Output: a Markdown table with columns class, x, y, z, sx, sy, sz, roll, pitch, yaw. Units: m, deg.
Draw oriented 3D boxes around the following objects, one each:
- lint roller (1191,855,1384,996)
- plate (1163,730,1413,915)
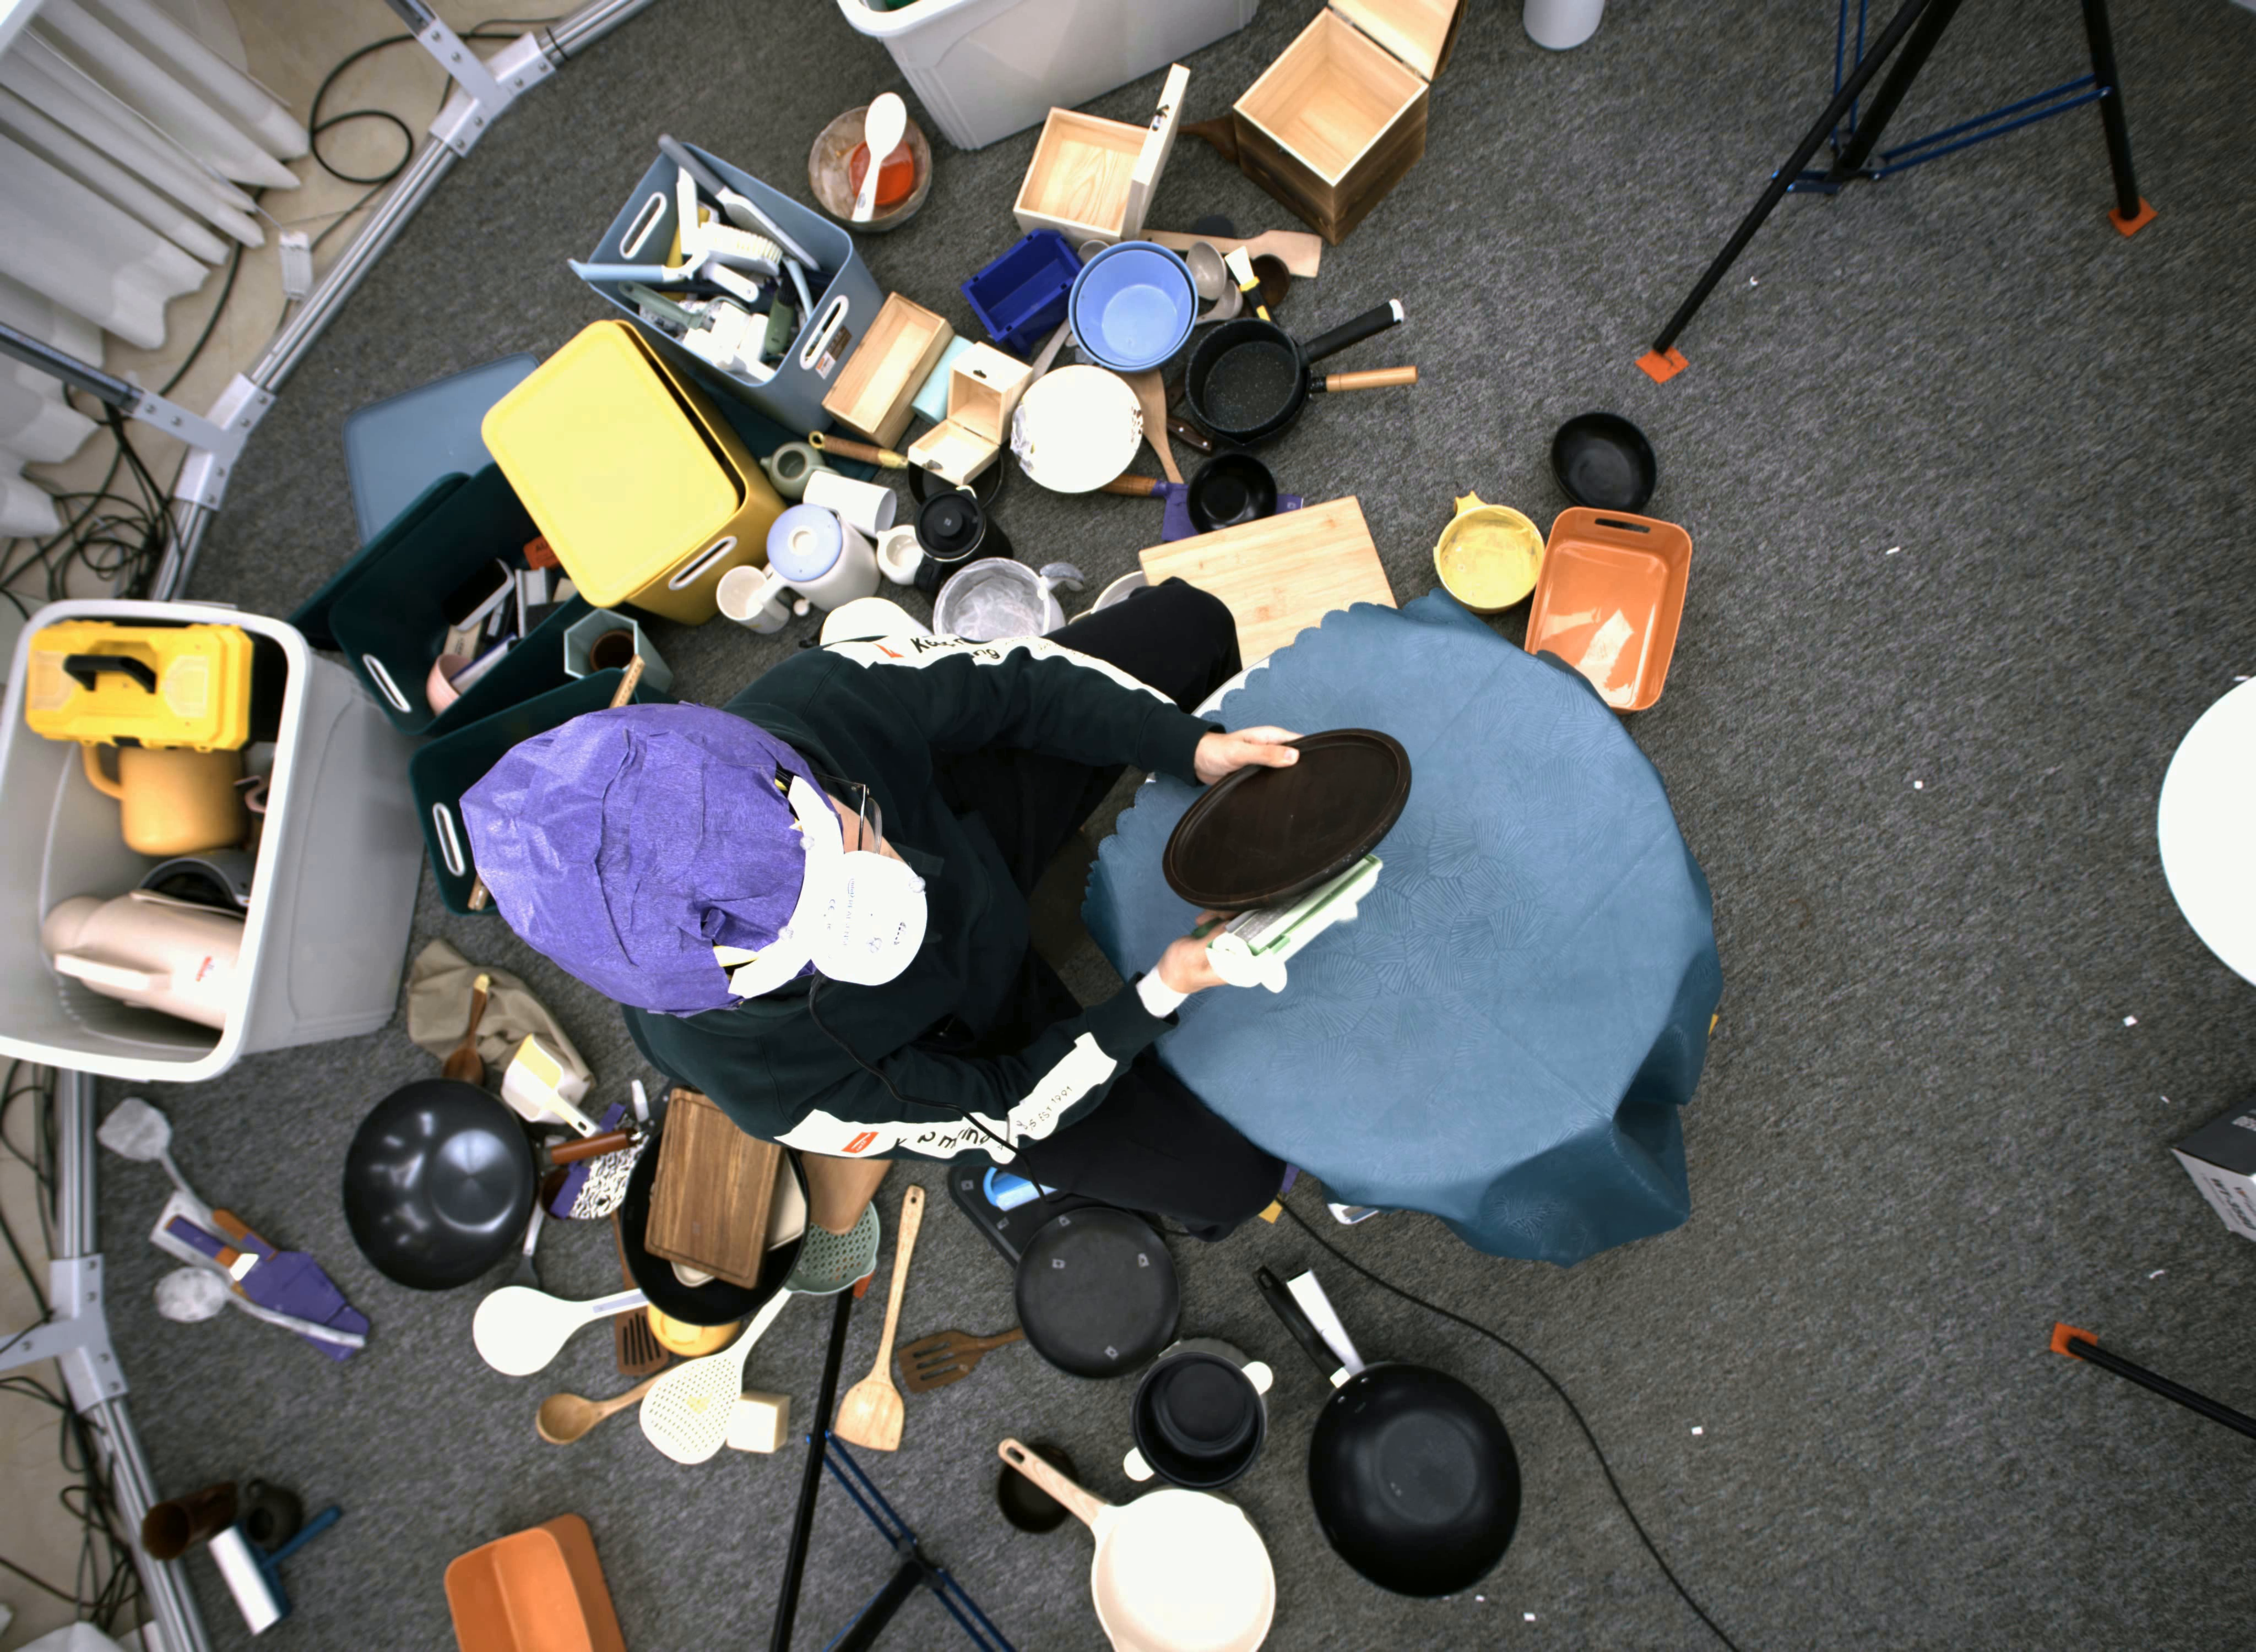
| class | x | y | z | sx | sy | sz | roll | pitch | yaw |
| --- | --- | --- | --- | --- | --- | --- | --- | --- | --- |
| lint roller | 0.129 | 0.106 | 1.285 | 0.195 | 0.187 | 0.082 | -34 | 87 | -37 |
| plate | 0.147 | -0.006 | 1.282 | 0.256 | 0.250 | 0.029 | -31 | 118 | 6 |
